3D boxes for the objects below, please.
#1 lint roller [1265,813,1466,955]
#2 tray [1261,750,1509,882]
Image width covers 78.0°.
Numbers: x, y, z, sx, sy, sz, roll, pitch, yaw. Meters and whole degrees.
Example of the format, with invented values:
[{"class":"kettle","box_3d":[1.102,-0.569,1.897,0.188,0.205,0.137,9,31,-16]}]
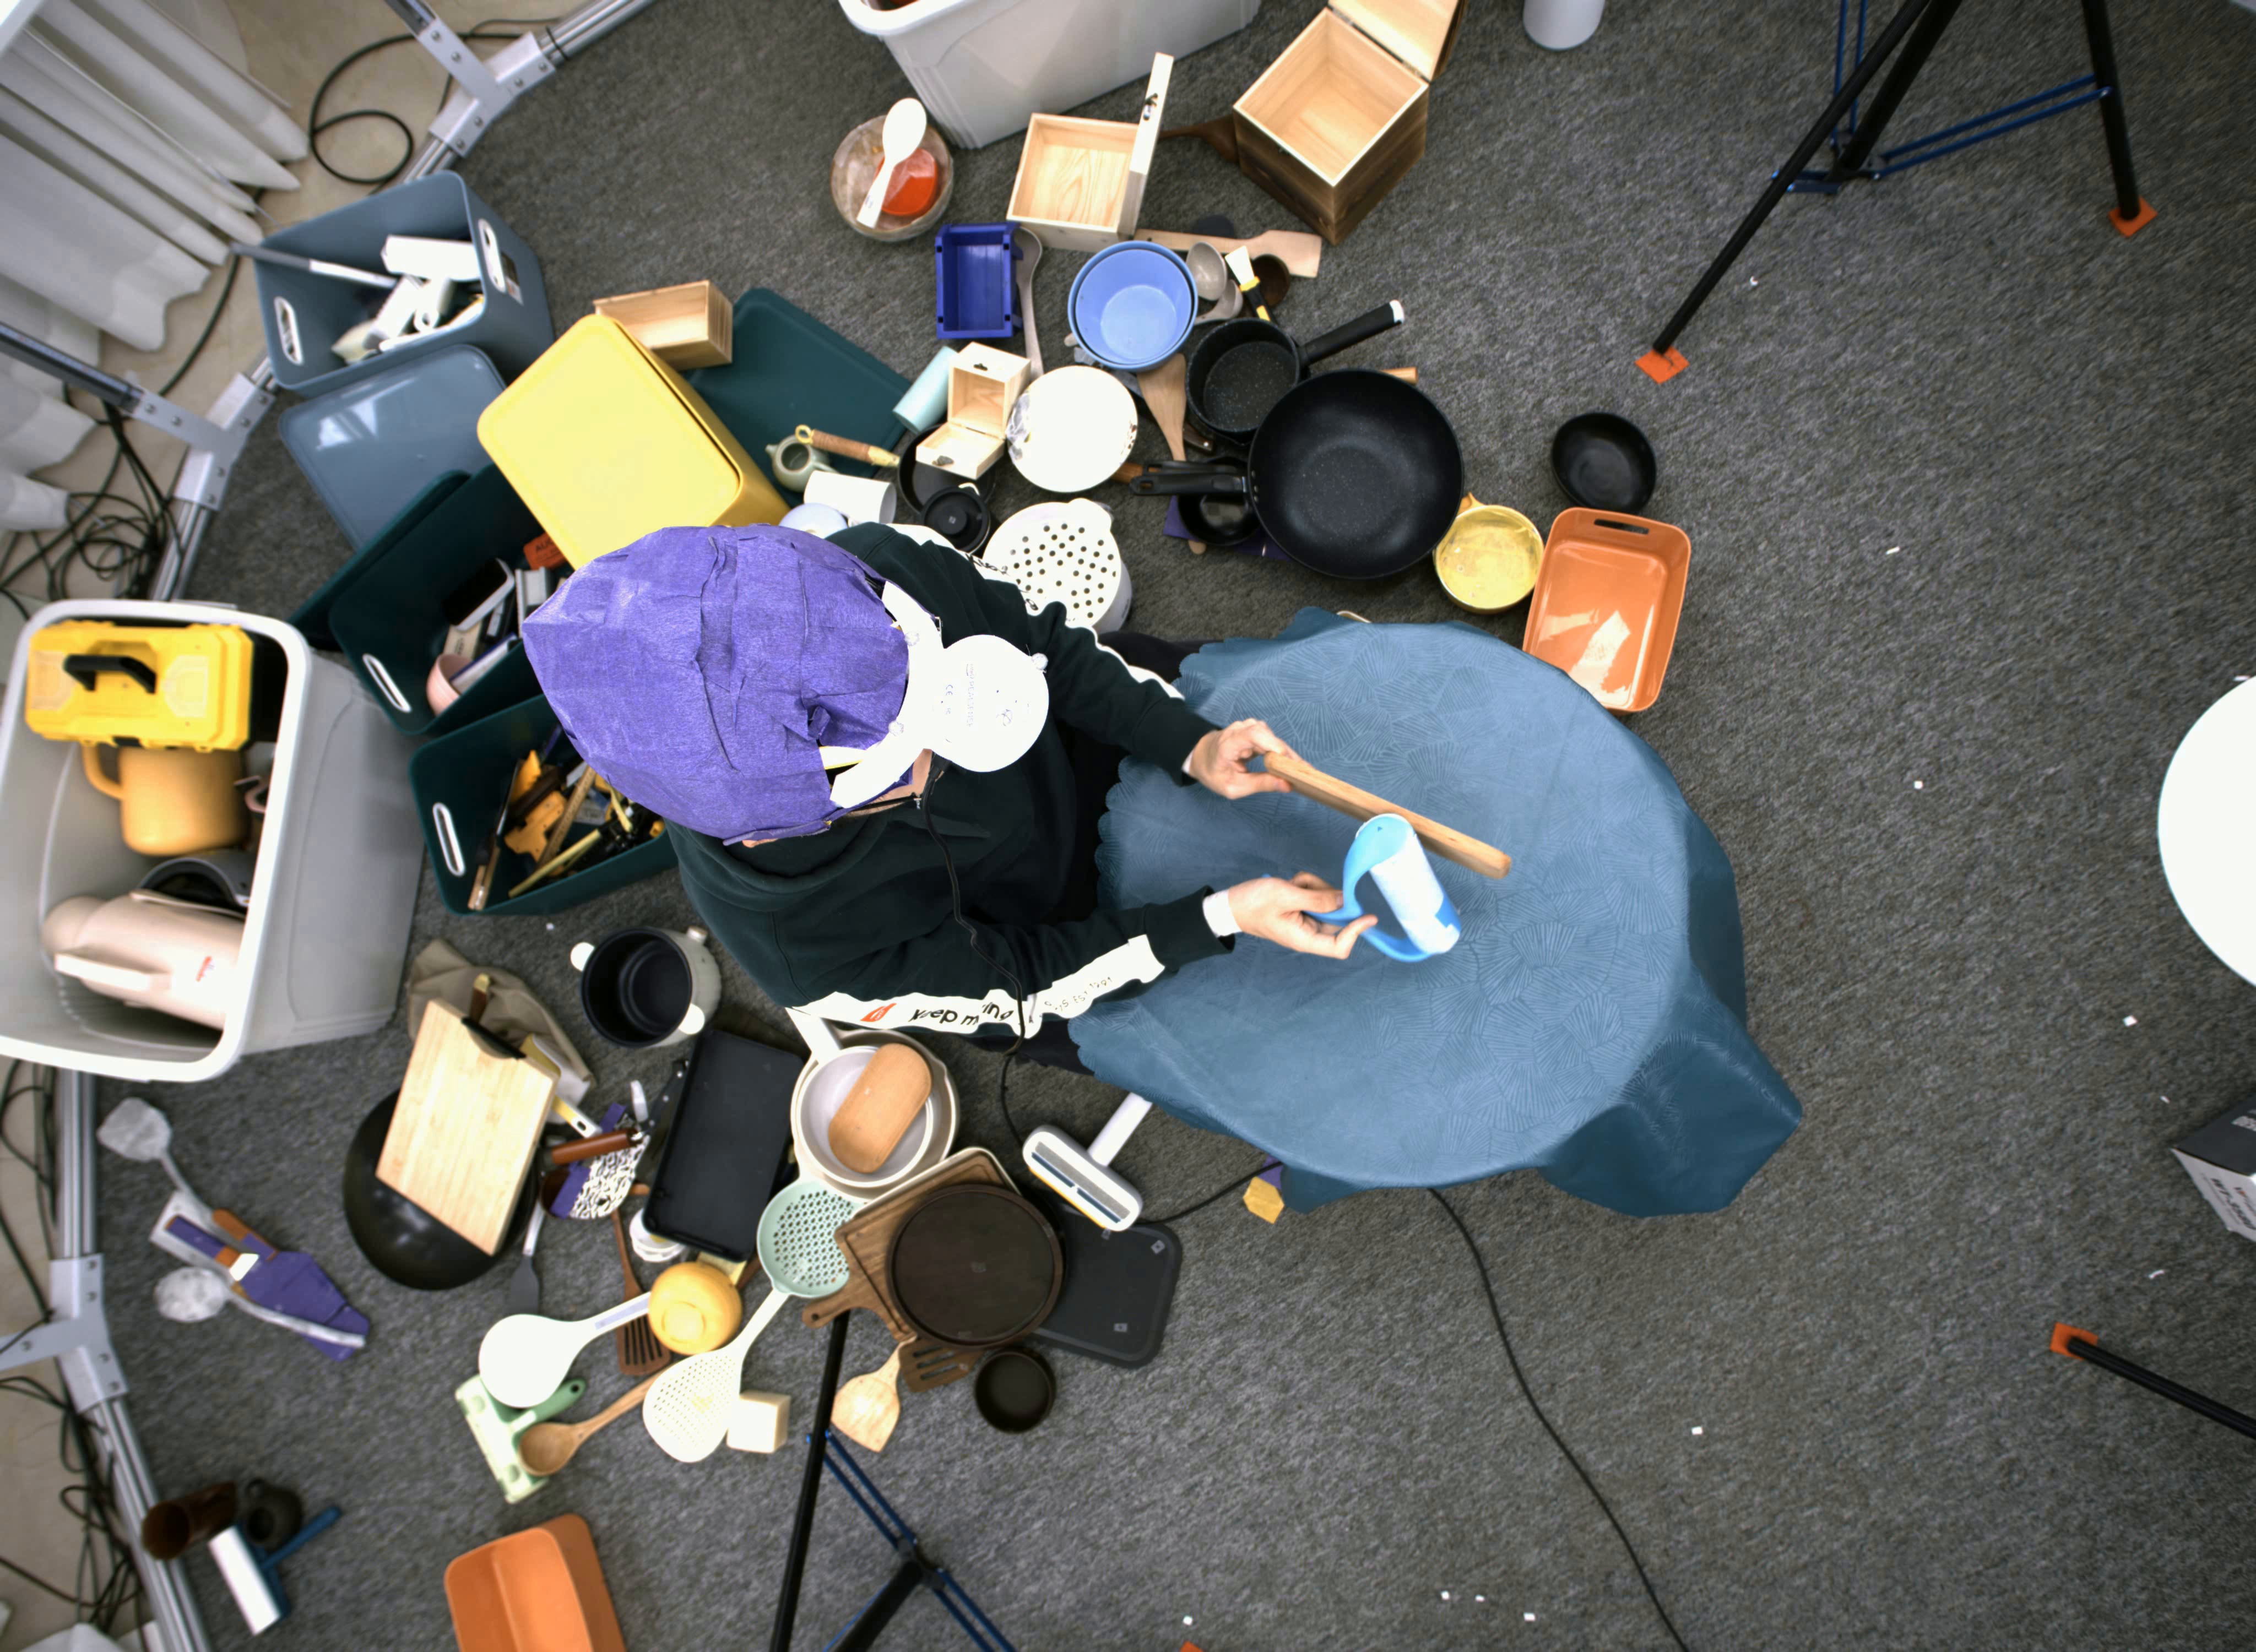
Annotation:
[{"class":"lint roller","box_3d":[0.217,0.062,1.324,0.182,0.231,0.066,-9,61,27]},{"class":"tray","box_3d":[0.244,-0.009,1.317,0.250,0.131,0.023,24,84,18]}]
